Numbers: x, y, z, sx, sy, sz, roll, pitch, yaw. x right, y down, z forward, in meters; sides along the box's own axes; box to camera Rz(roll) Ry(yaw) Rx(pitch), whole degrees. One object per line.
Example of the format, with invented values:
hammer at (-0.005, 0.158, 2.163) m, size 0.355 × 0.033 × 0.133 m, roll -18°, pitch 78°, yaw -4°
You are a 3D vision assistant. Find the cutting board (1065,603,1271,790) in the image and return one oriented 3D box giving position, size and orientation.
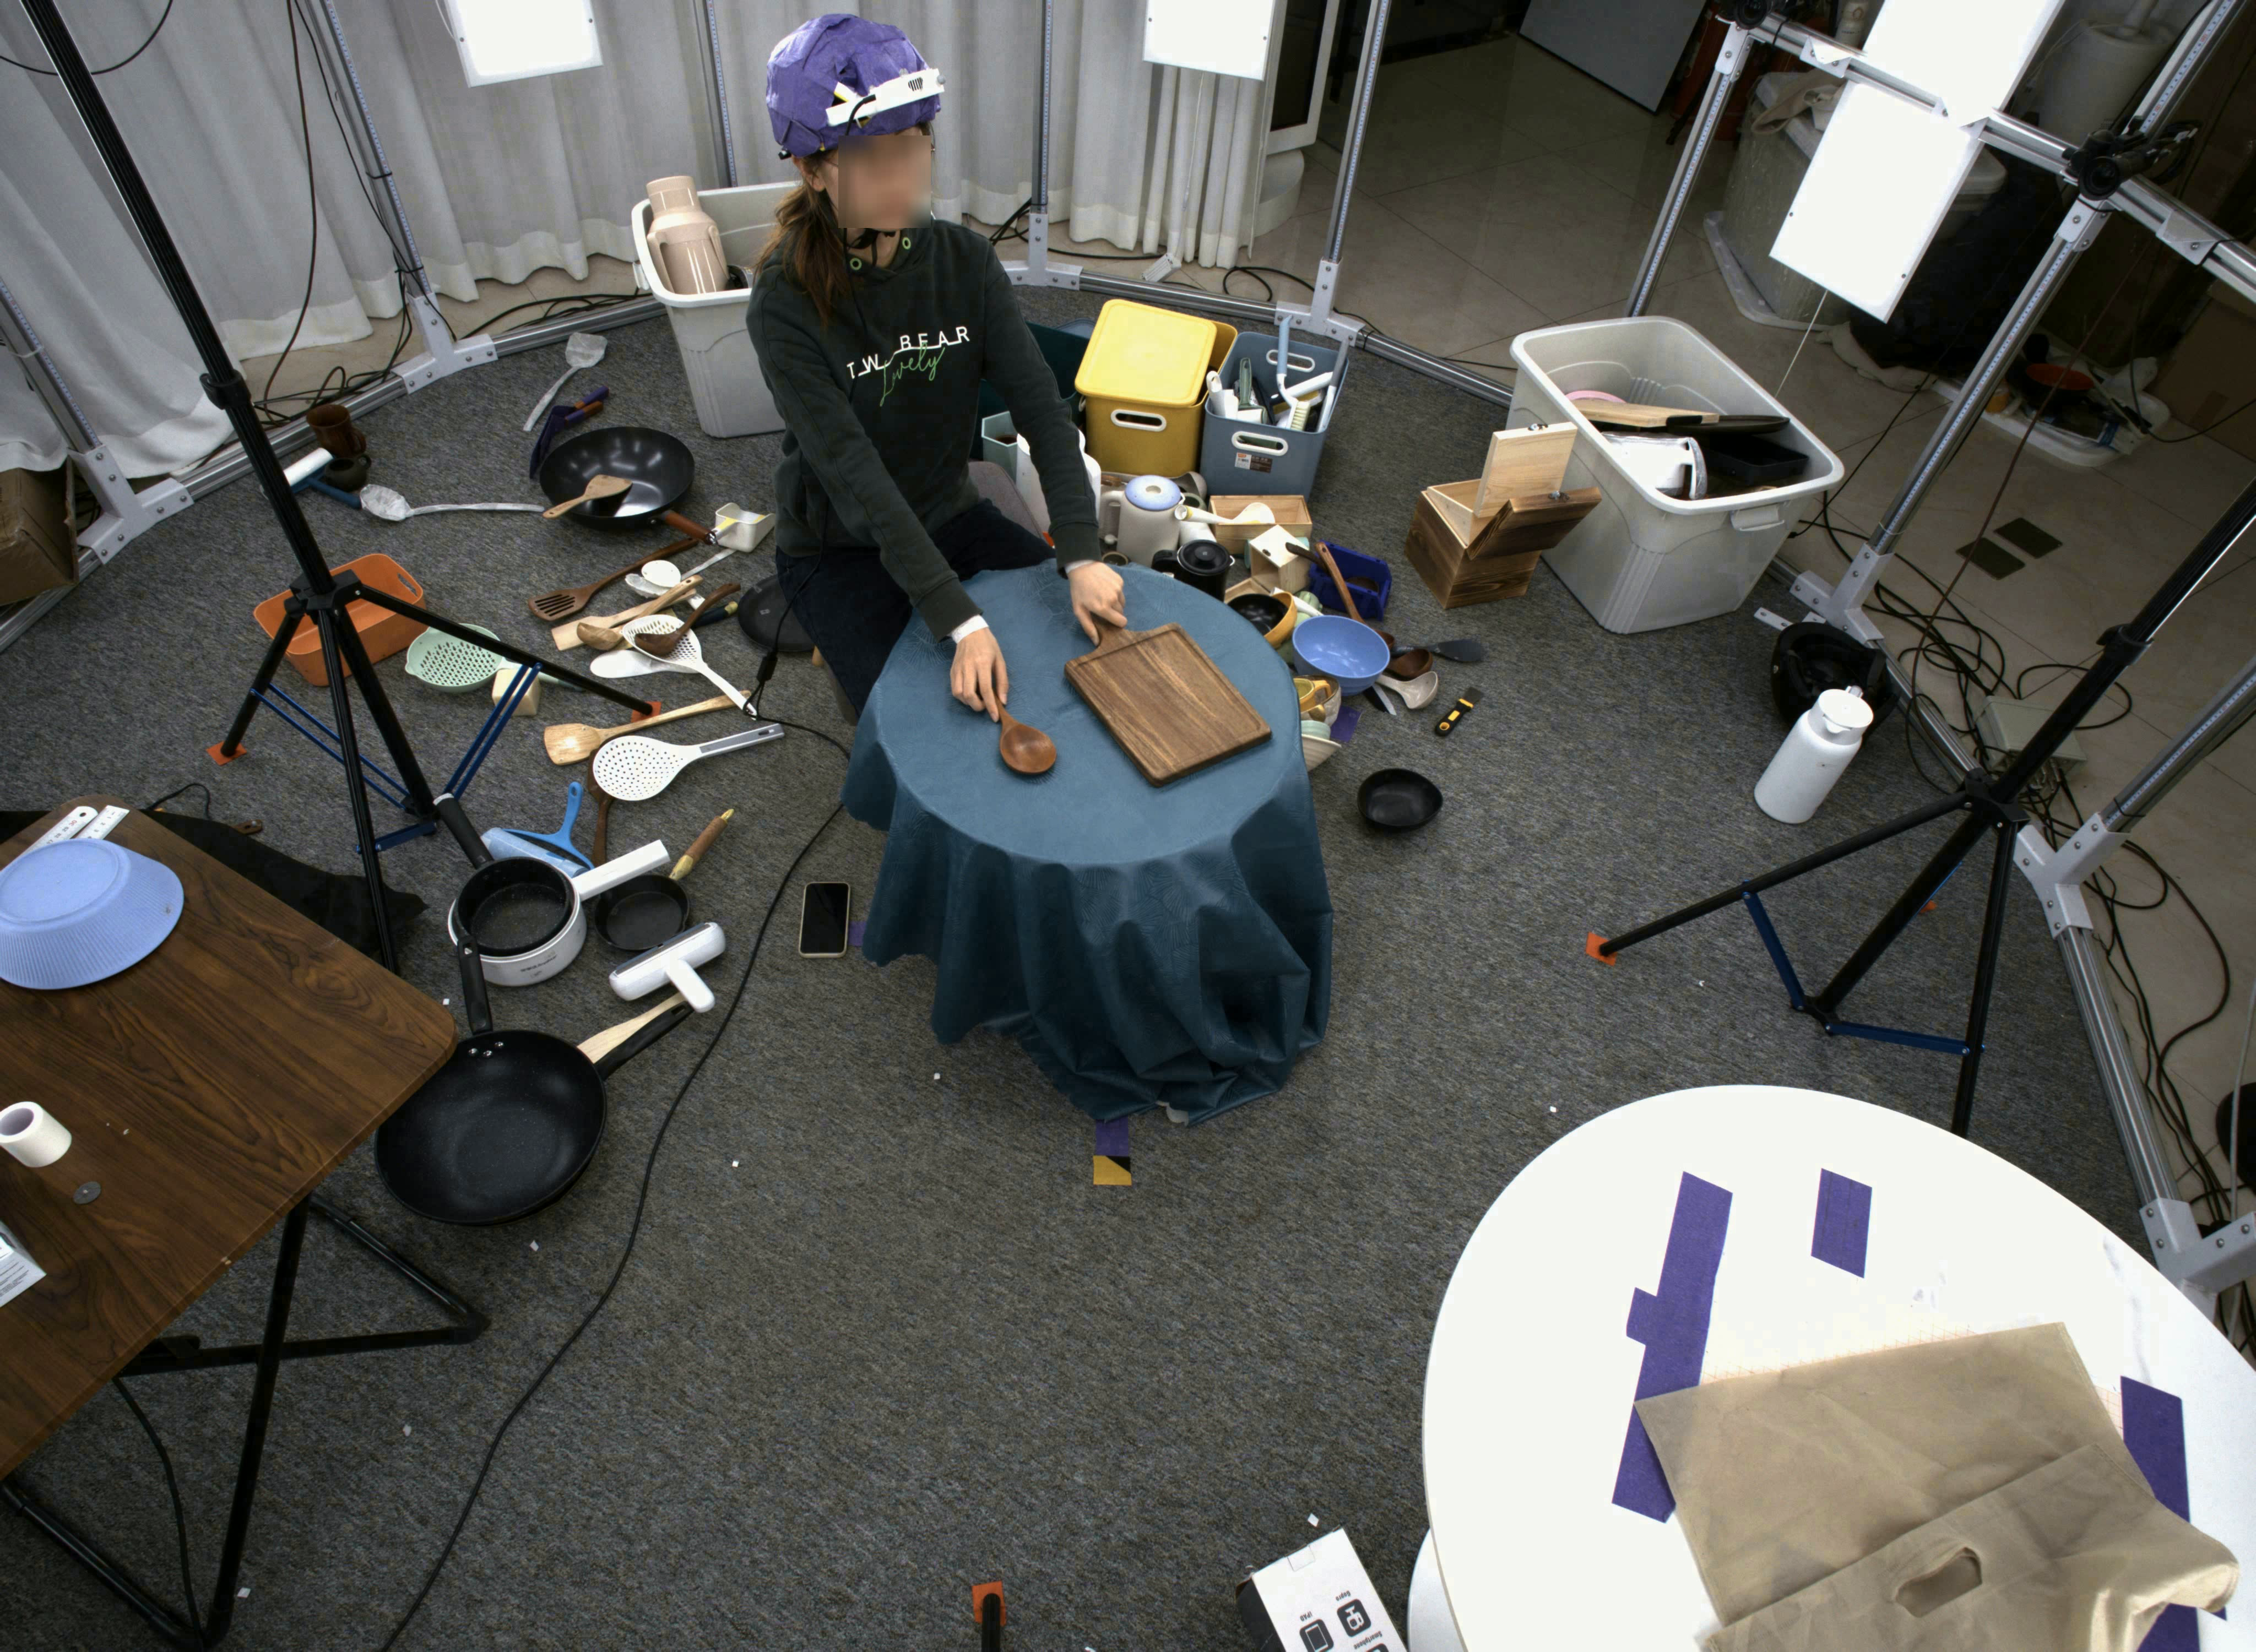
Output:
cutting board at (0.029, -0.210, 1.852) m, size 0.202 × 0.022 × 0.359 m, roll -24°, pitch 56°, yaw -21°

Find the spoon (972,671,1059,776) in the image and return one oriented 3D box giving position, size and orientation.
spoon at (-0.164, -0.144, 1.787) m, size 0.075 × 0.017 × 0.220 m, roll -21°, pitch 54°, yaw -19°
